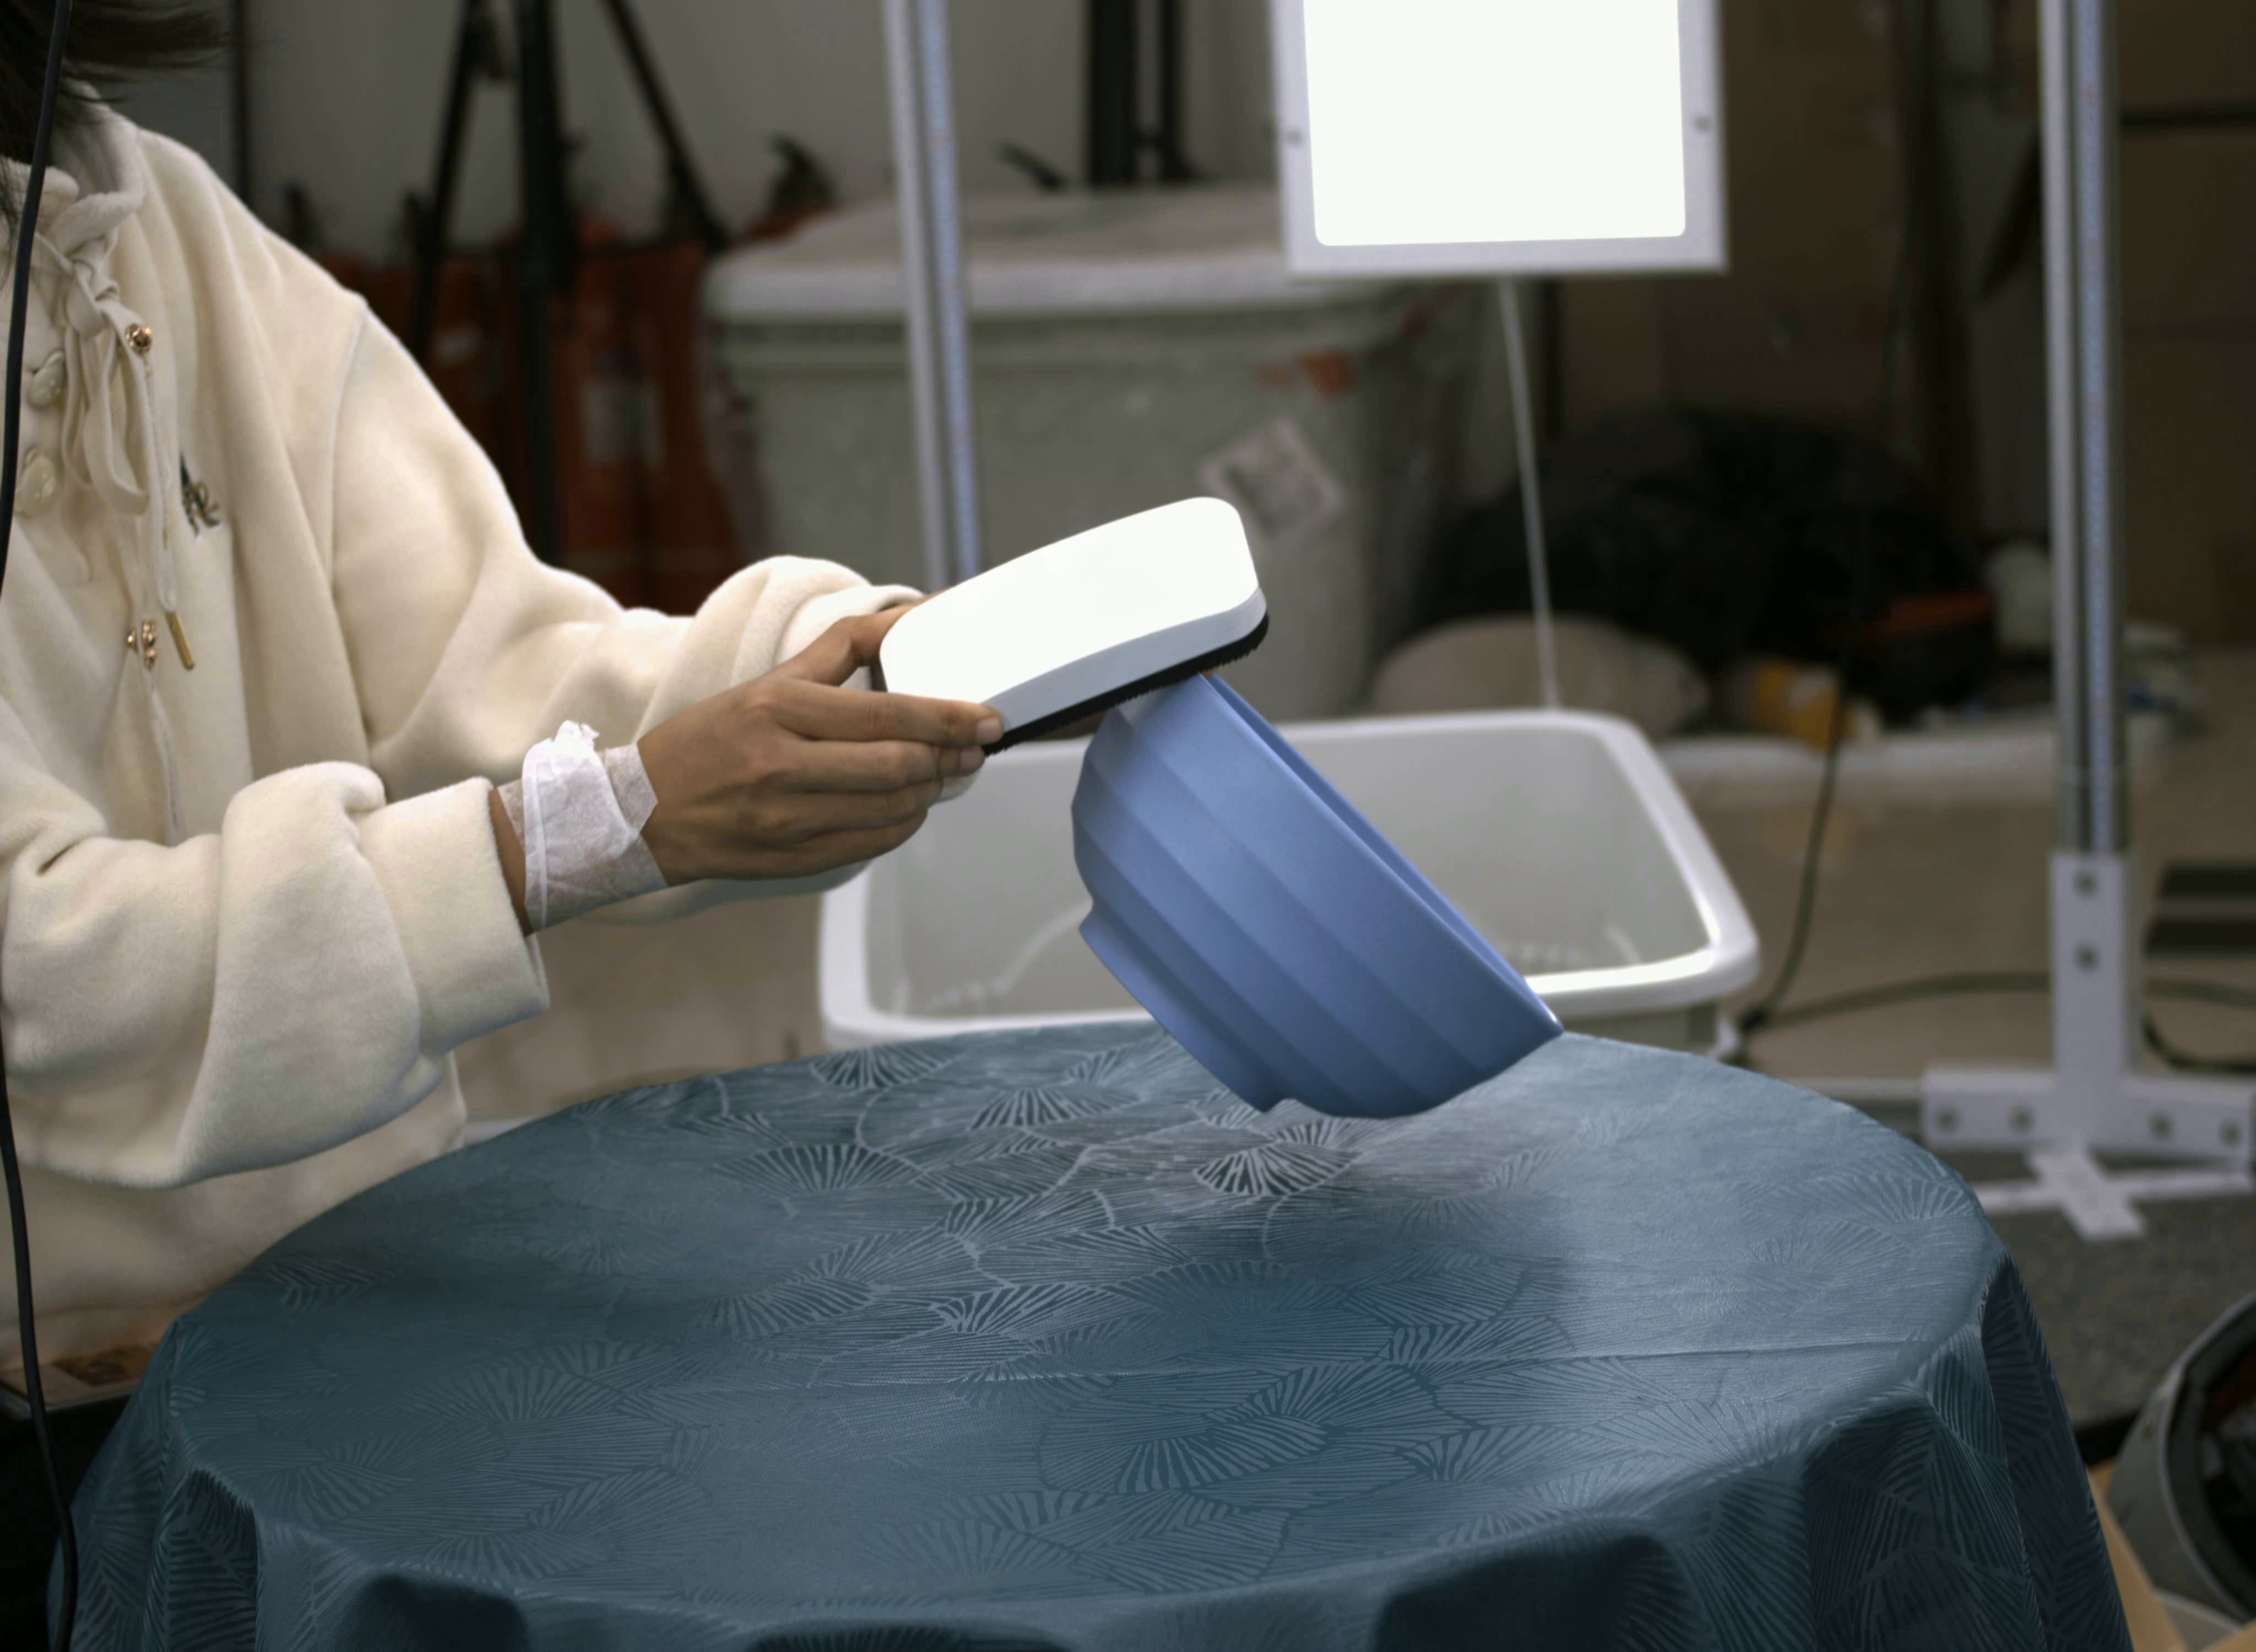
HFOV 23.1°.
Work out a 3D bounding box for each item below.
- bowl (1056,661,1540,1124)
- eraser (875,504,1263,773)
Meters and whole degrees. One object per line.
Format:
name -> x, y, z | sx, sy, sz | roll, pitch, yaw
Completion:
bowl -> 0.042, 0.032, 1.888 | 0.096, 0.195, 0.196 | -43, 9, 9
eraser -> -0.020, -0.065, 1.842 | 0.132, 0.034, 0.063 | -21, 42, 7
